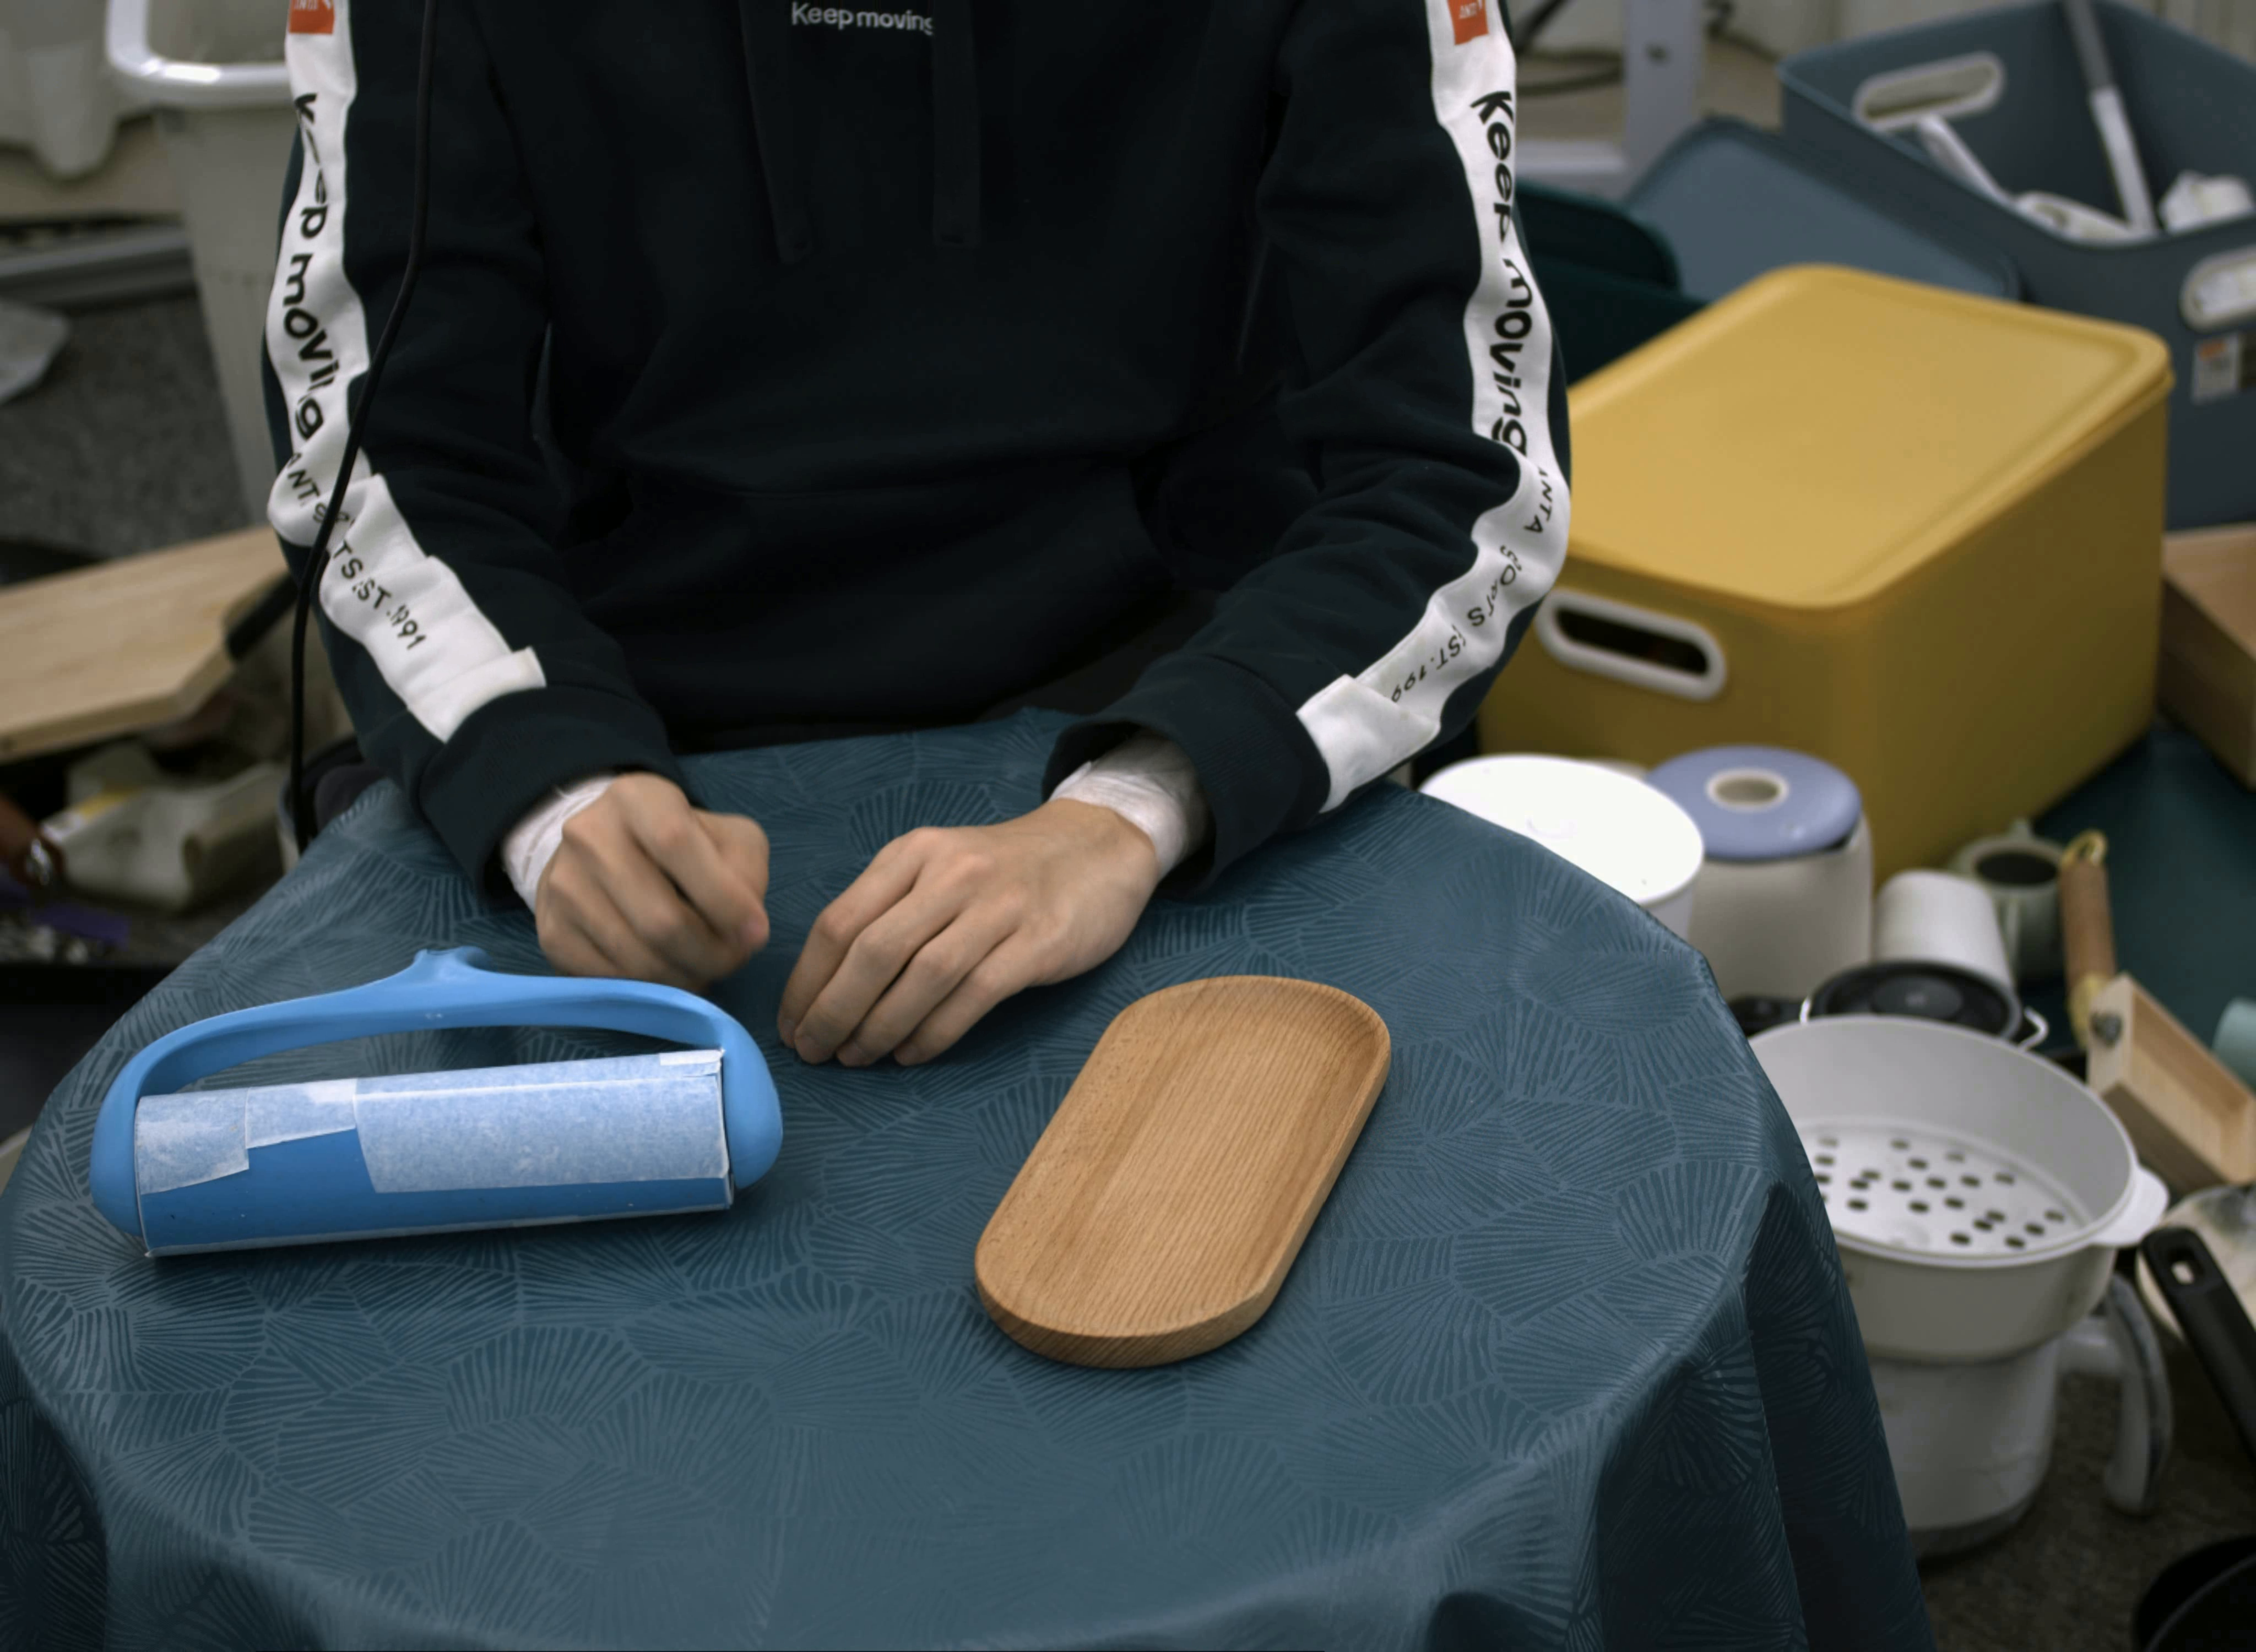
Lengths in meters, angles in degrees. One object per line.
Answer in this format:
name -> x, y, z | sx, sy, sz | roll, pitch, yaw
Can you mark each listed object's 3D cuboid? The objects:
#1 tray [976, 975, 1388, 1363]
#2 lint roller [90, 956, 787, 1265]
tray -> 0.020, 0.111, 1.861 | 0.101, 0.020, 0.235 | 6, 27, 15
lint roller -> -0.233, 0.080, 1.901 | 0.228, 0.067, 0.183 | -7, 29, -4
